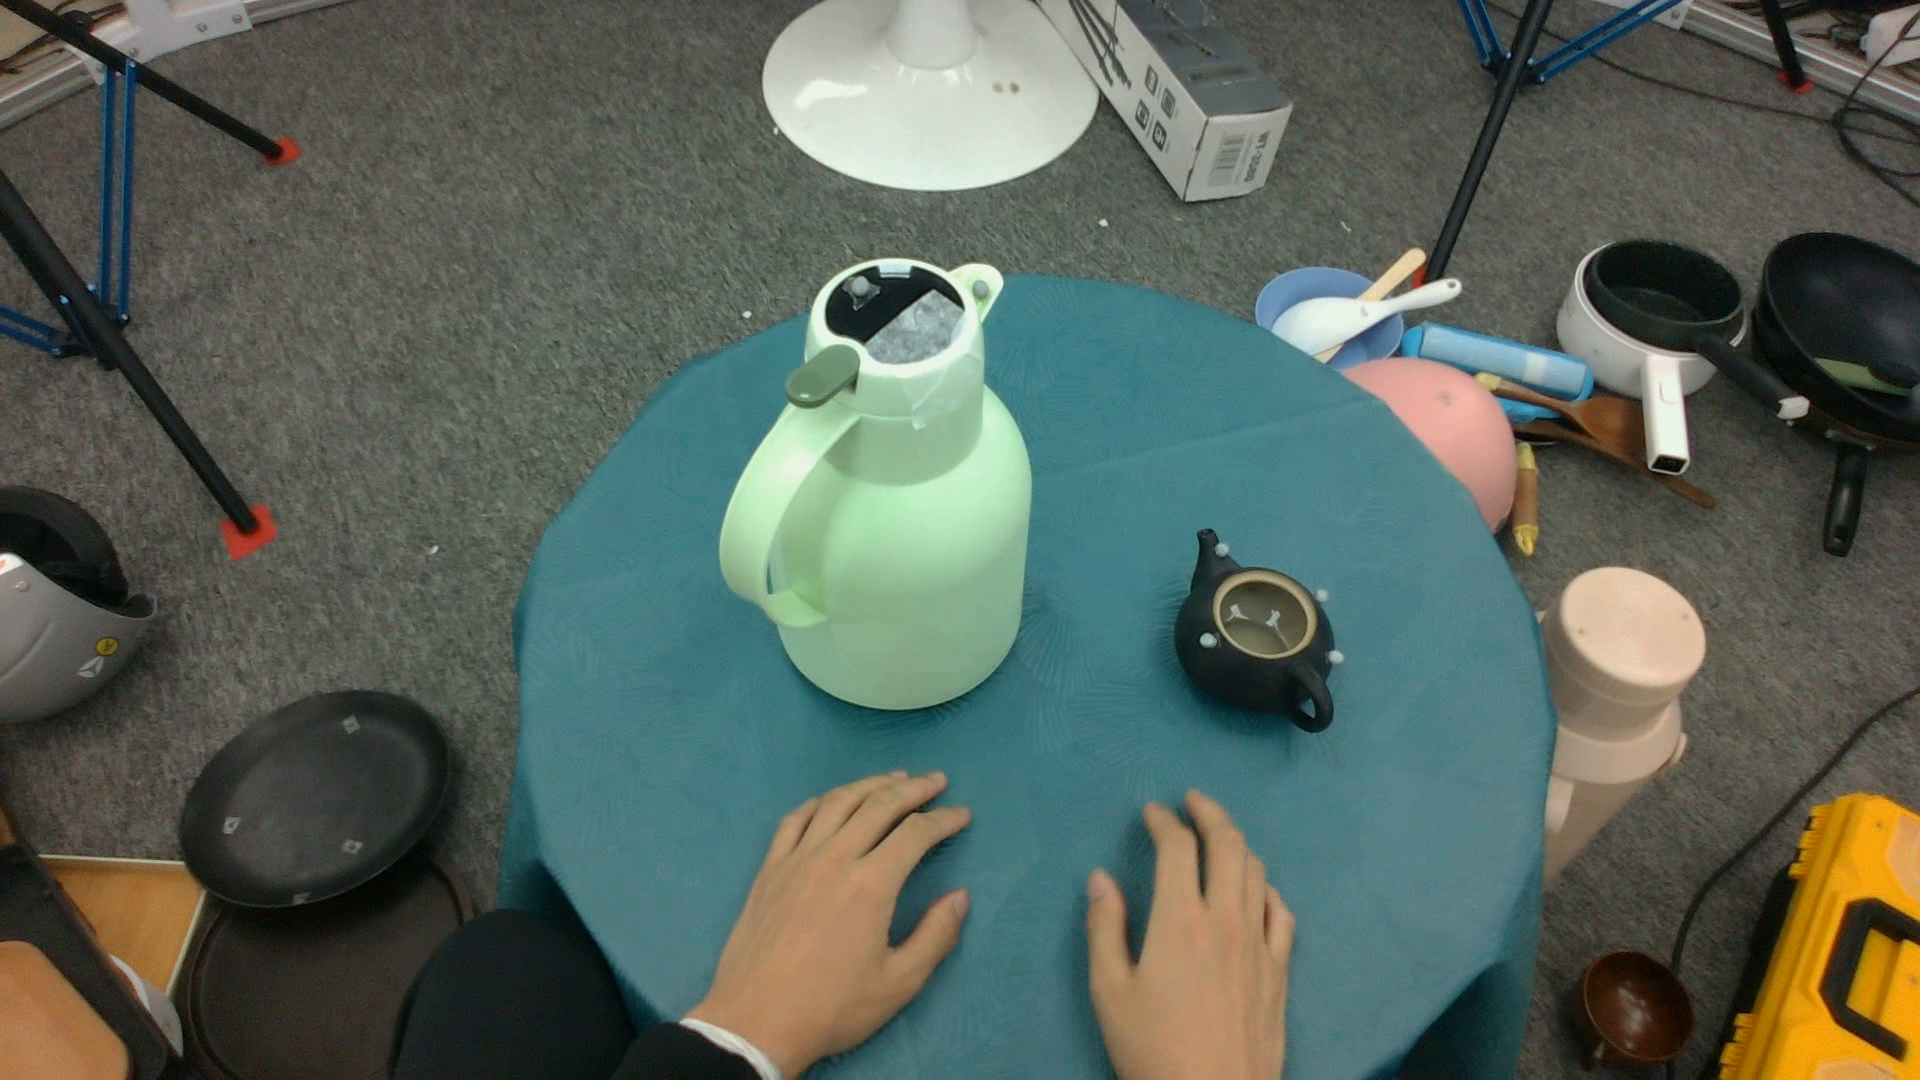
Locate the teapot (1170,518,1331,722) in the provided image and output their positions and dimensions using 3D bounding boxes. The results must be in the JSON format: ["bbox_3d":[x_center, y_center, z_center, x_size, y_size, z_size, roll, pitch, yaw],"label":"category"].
[{"bbox_3d":[0.166,0.050,0.784,0.091,0.053,0.133,-22,58,-15],"label":"teapot"}]

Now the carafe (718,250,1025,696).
[{"bbox_3d":[-0.046,-0.025,0.708,0.144,0.255,0.187,33,63,18],"label":"carafe"}]
